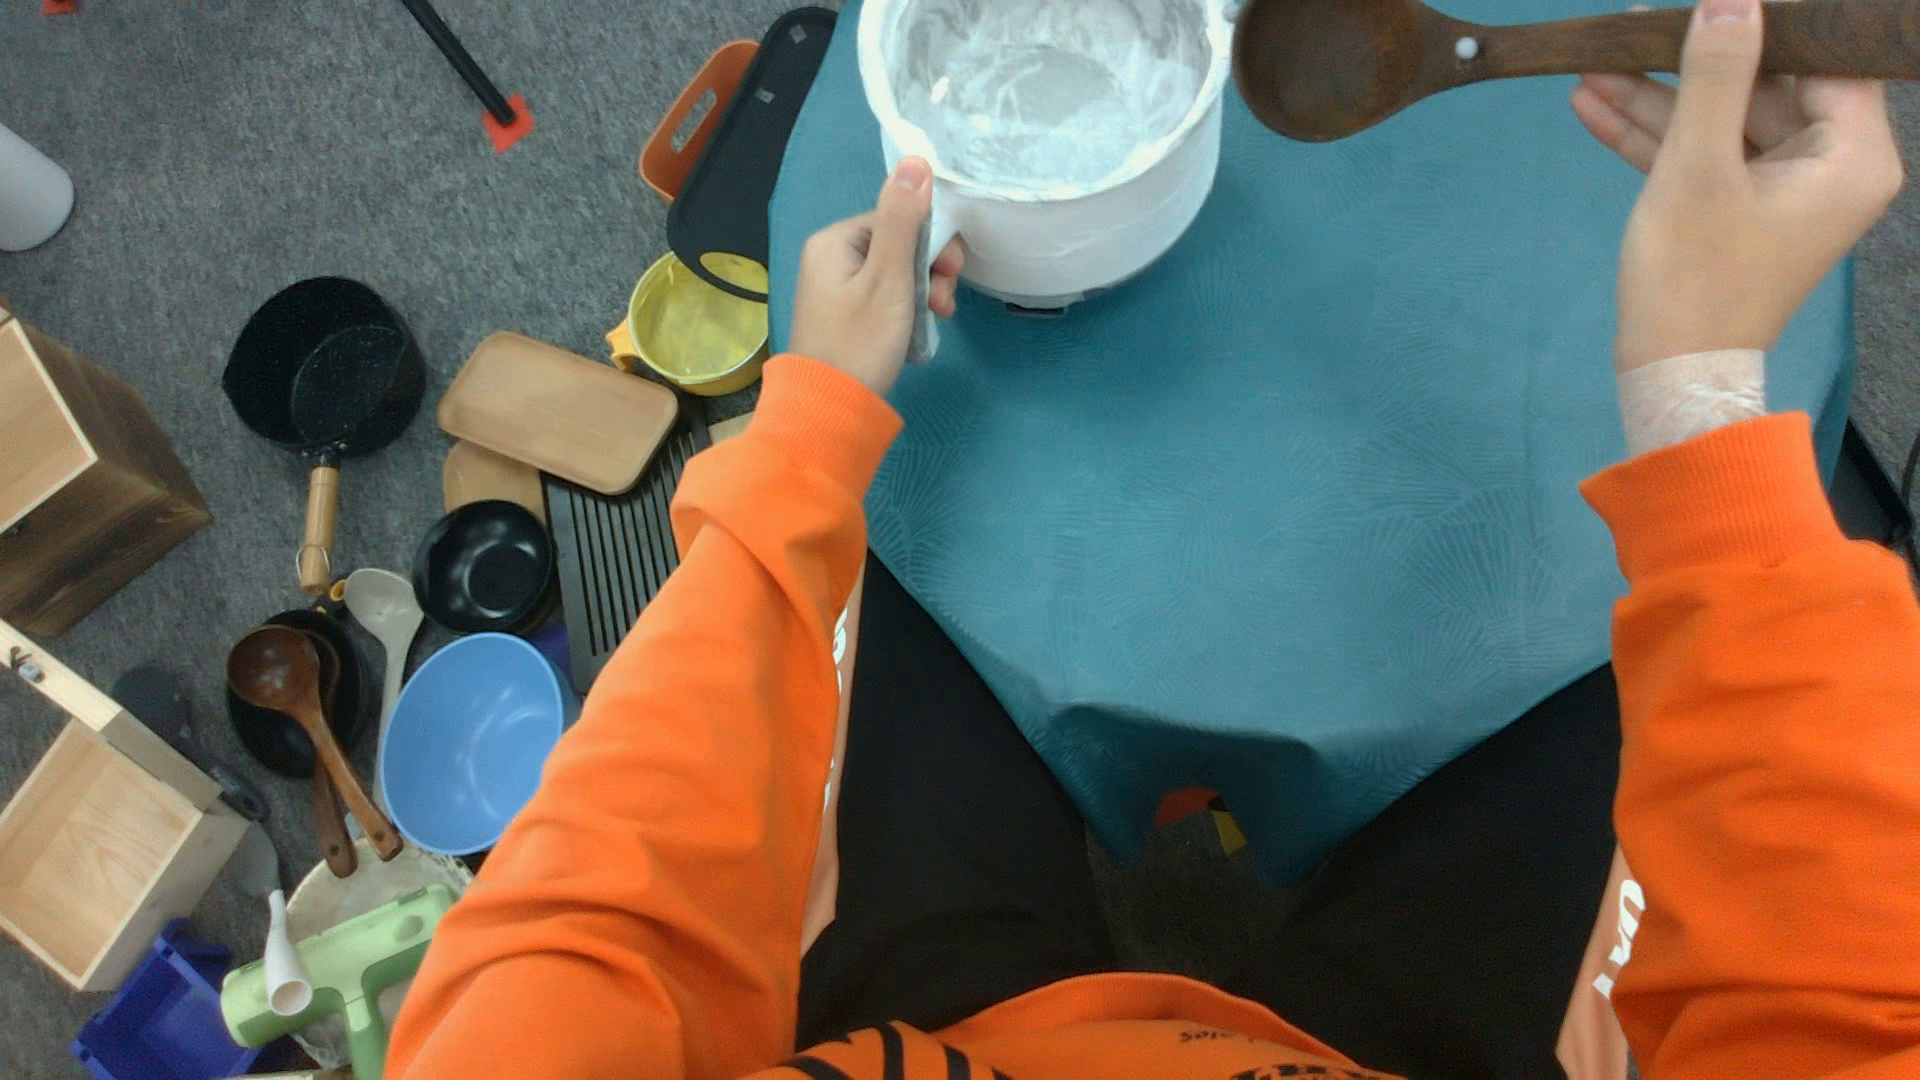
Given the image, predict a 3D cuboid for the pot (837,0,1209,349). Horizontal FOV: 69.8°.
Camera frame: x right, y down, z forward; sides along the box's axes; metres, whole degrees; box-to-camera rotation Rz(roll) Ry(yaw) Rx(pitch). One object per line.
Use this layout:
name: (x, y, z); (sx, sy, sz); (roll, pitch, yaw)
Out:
pot: (0.019, -0.209, 0.705); (0.179, 0.136, 0.234); (32, 80, 13)

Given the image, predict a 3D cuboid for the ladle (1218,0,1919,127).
ladle: (0.222, -0.191, 0.512); (0.274, 0.071, 0.076); (18, 106, 44)
